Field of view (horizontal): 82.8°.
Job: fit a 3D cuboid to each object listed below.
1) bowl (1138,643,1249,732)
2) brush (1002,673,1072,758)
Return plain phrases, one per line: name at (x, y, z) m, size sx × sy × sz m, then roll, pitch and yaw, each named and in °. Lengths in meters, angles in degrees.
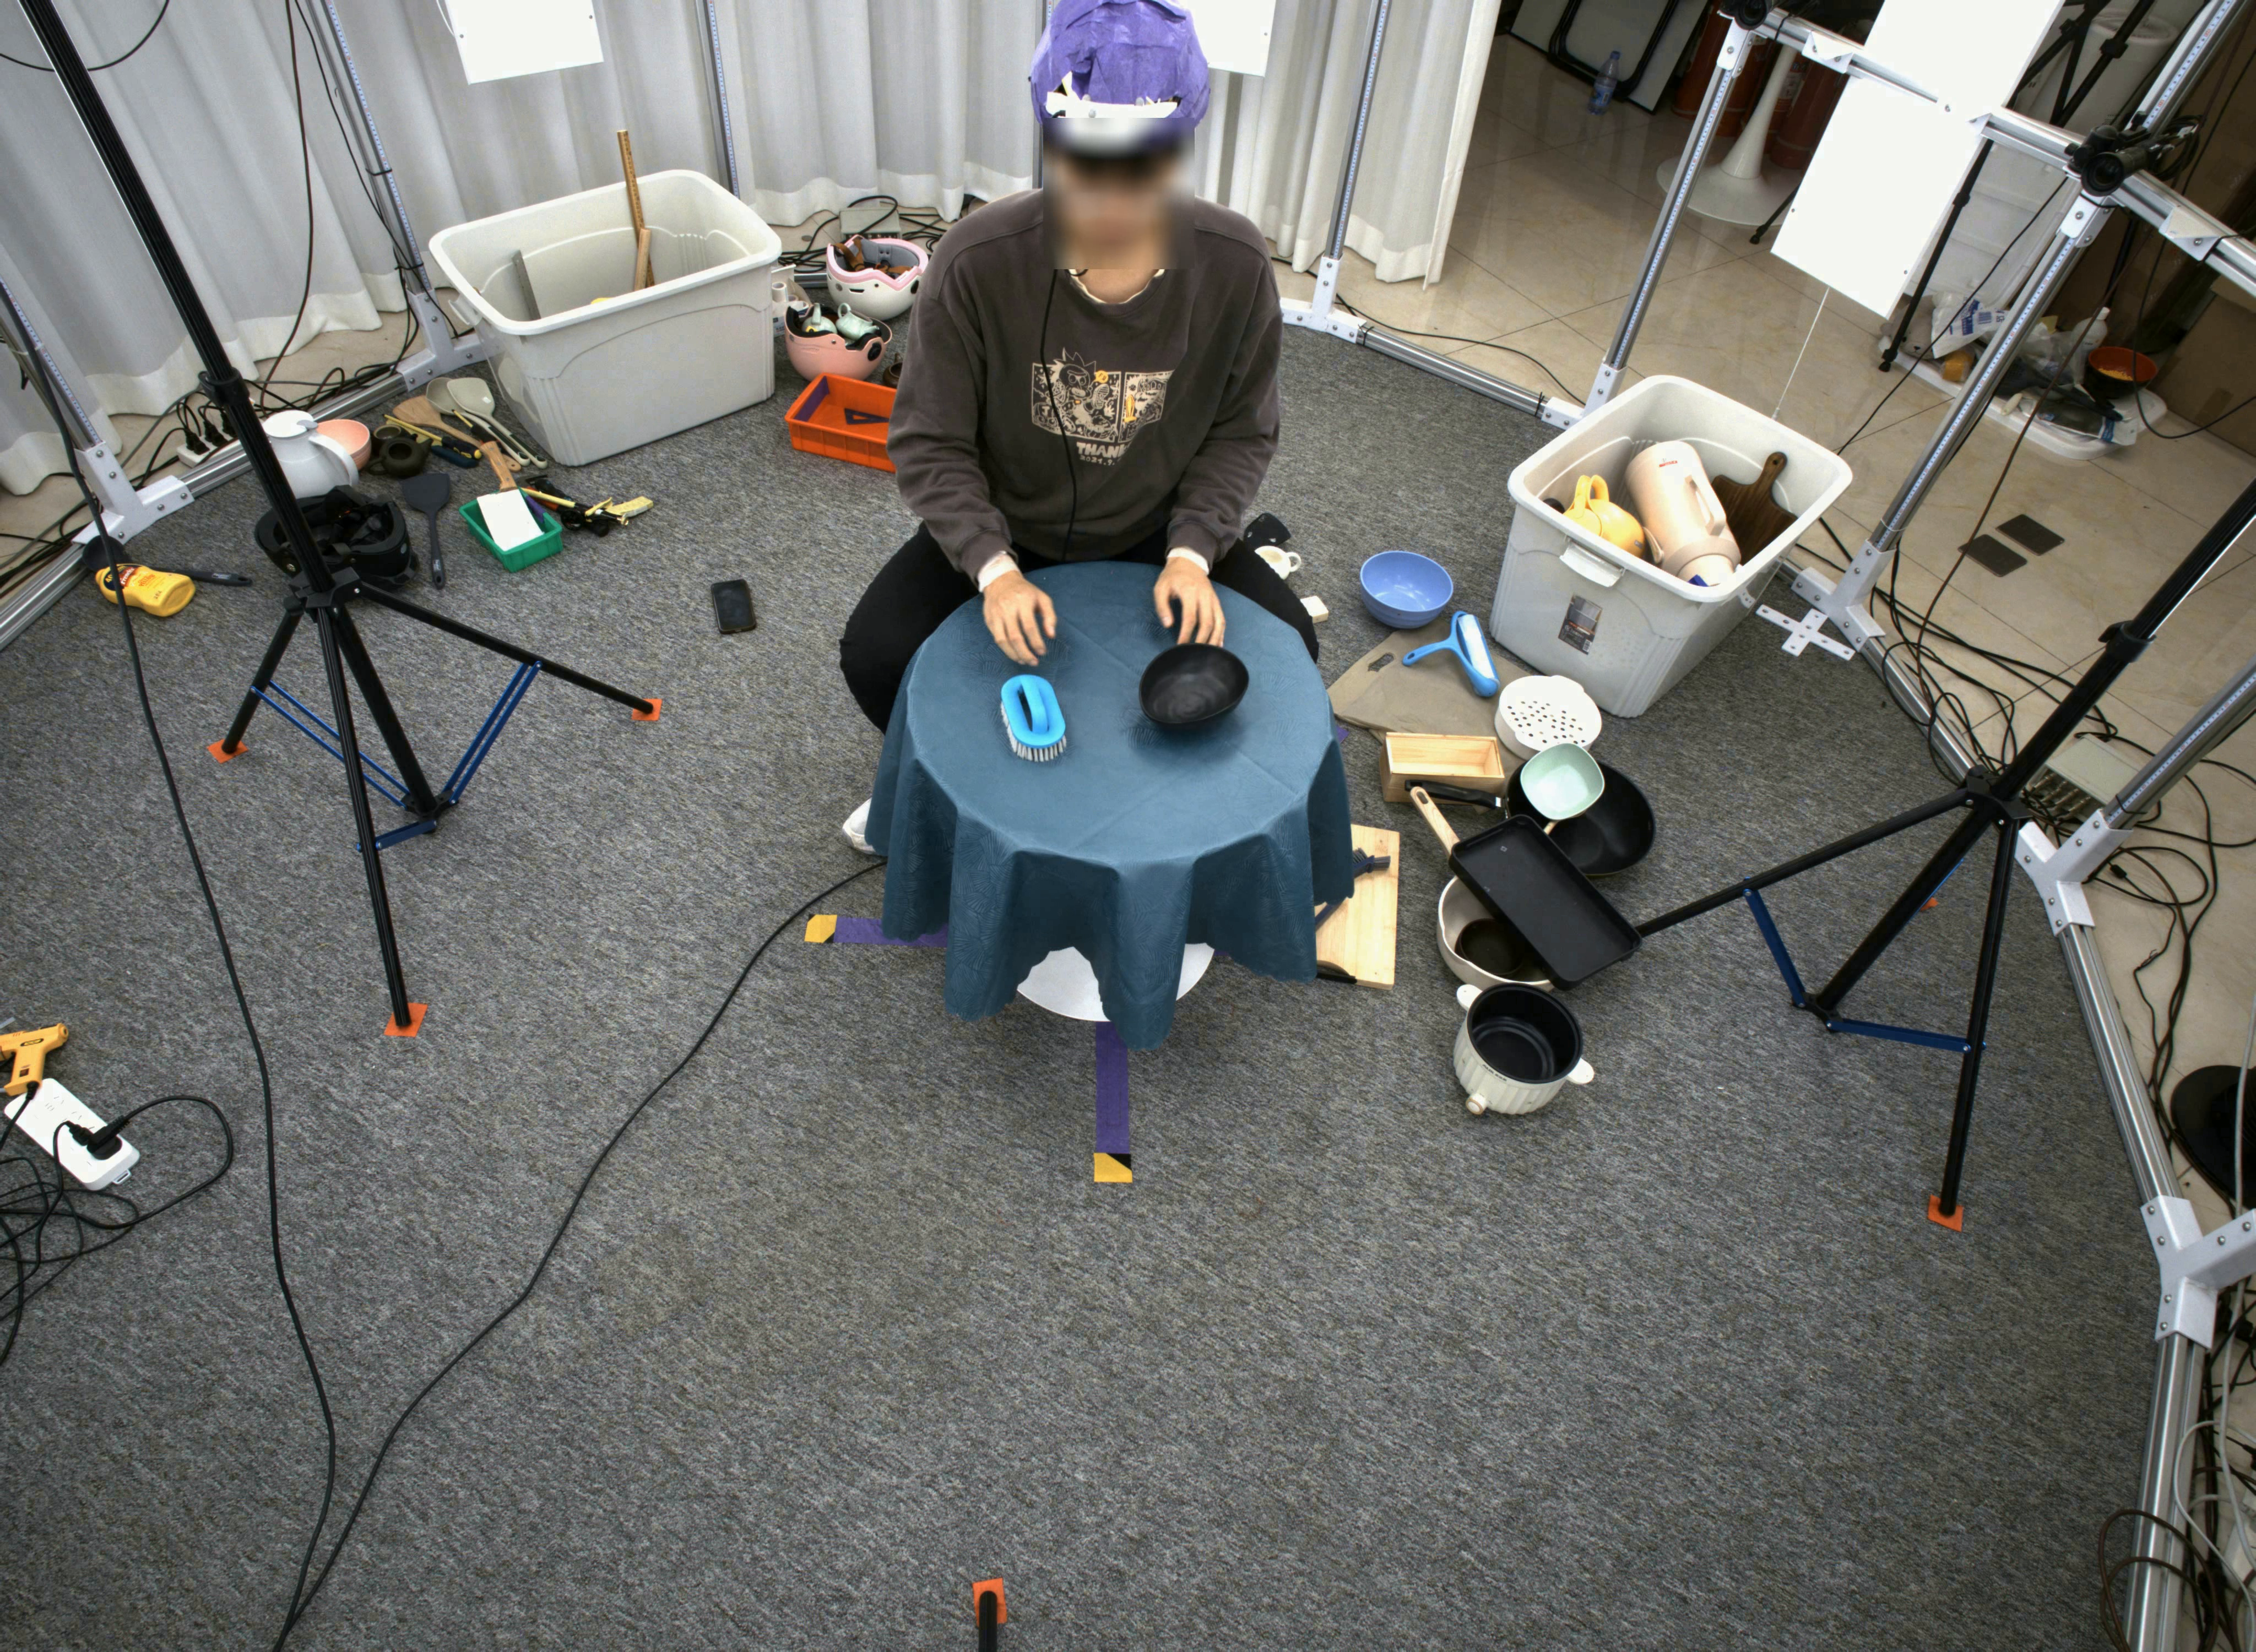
bowl at (0.090, -0.181, 1.788) m, size 0.139 × 0.065 × 0.172 m, roll 37°, pitch 58°, yaw 26°
brush at (-0.127, -0.162, 1.756) m, size 0.084 × 0.062 × 0.145 m, roll -11°, pitch 49°, yaw -7°
